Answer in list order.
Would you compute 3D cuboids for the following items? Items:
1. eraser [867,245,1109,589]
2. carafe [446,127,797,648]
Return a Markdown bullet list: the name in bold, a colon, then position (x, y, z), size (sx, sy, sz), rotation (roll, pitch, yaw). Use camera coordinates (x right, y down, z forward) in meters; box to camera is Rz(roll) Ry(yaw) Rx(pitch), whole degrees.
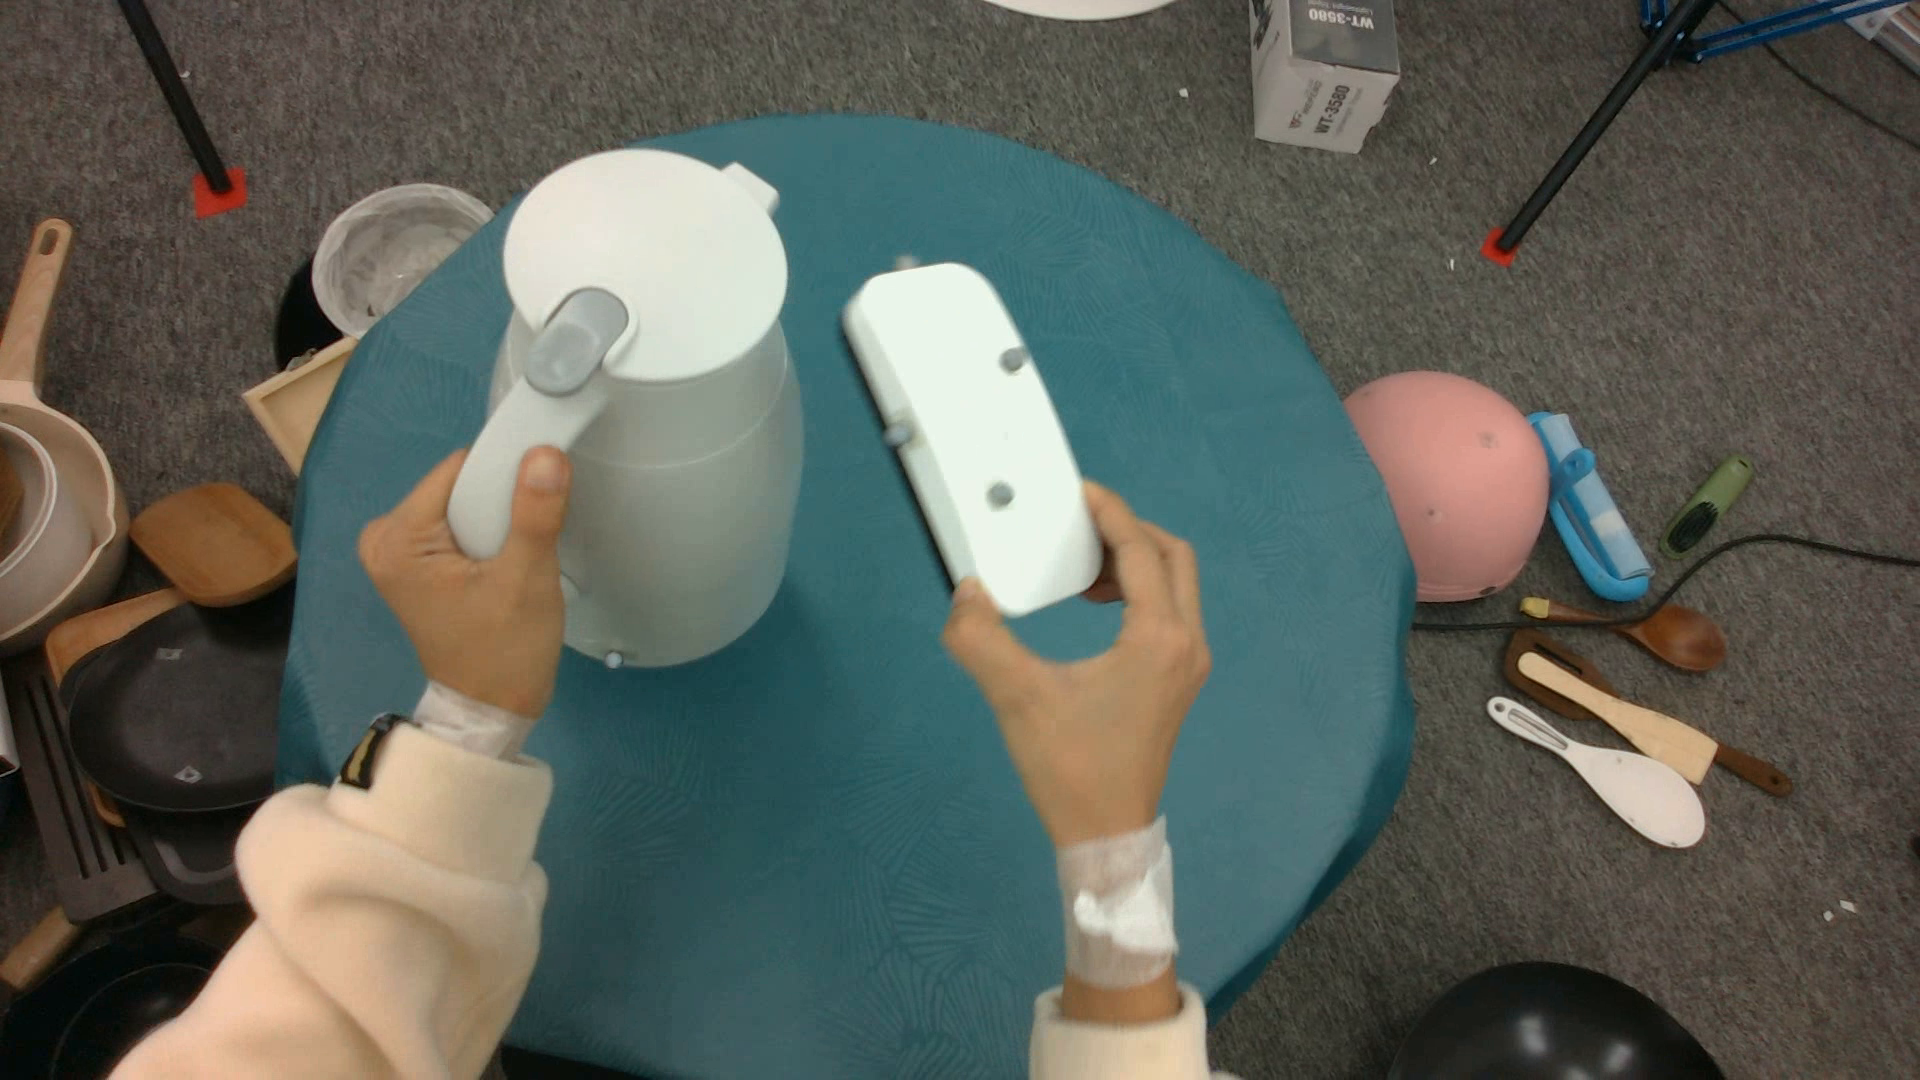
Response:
- **eraser**: position (0.010, -0.047, 0.517), size (0.063, 0.034, 0.131), rotation (-15, 82, -37)
- **carafe**: position (-0.139, -0.042, 0.560), size (0.132, 0.247, 0.168), rotation (33, 64, 2)
